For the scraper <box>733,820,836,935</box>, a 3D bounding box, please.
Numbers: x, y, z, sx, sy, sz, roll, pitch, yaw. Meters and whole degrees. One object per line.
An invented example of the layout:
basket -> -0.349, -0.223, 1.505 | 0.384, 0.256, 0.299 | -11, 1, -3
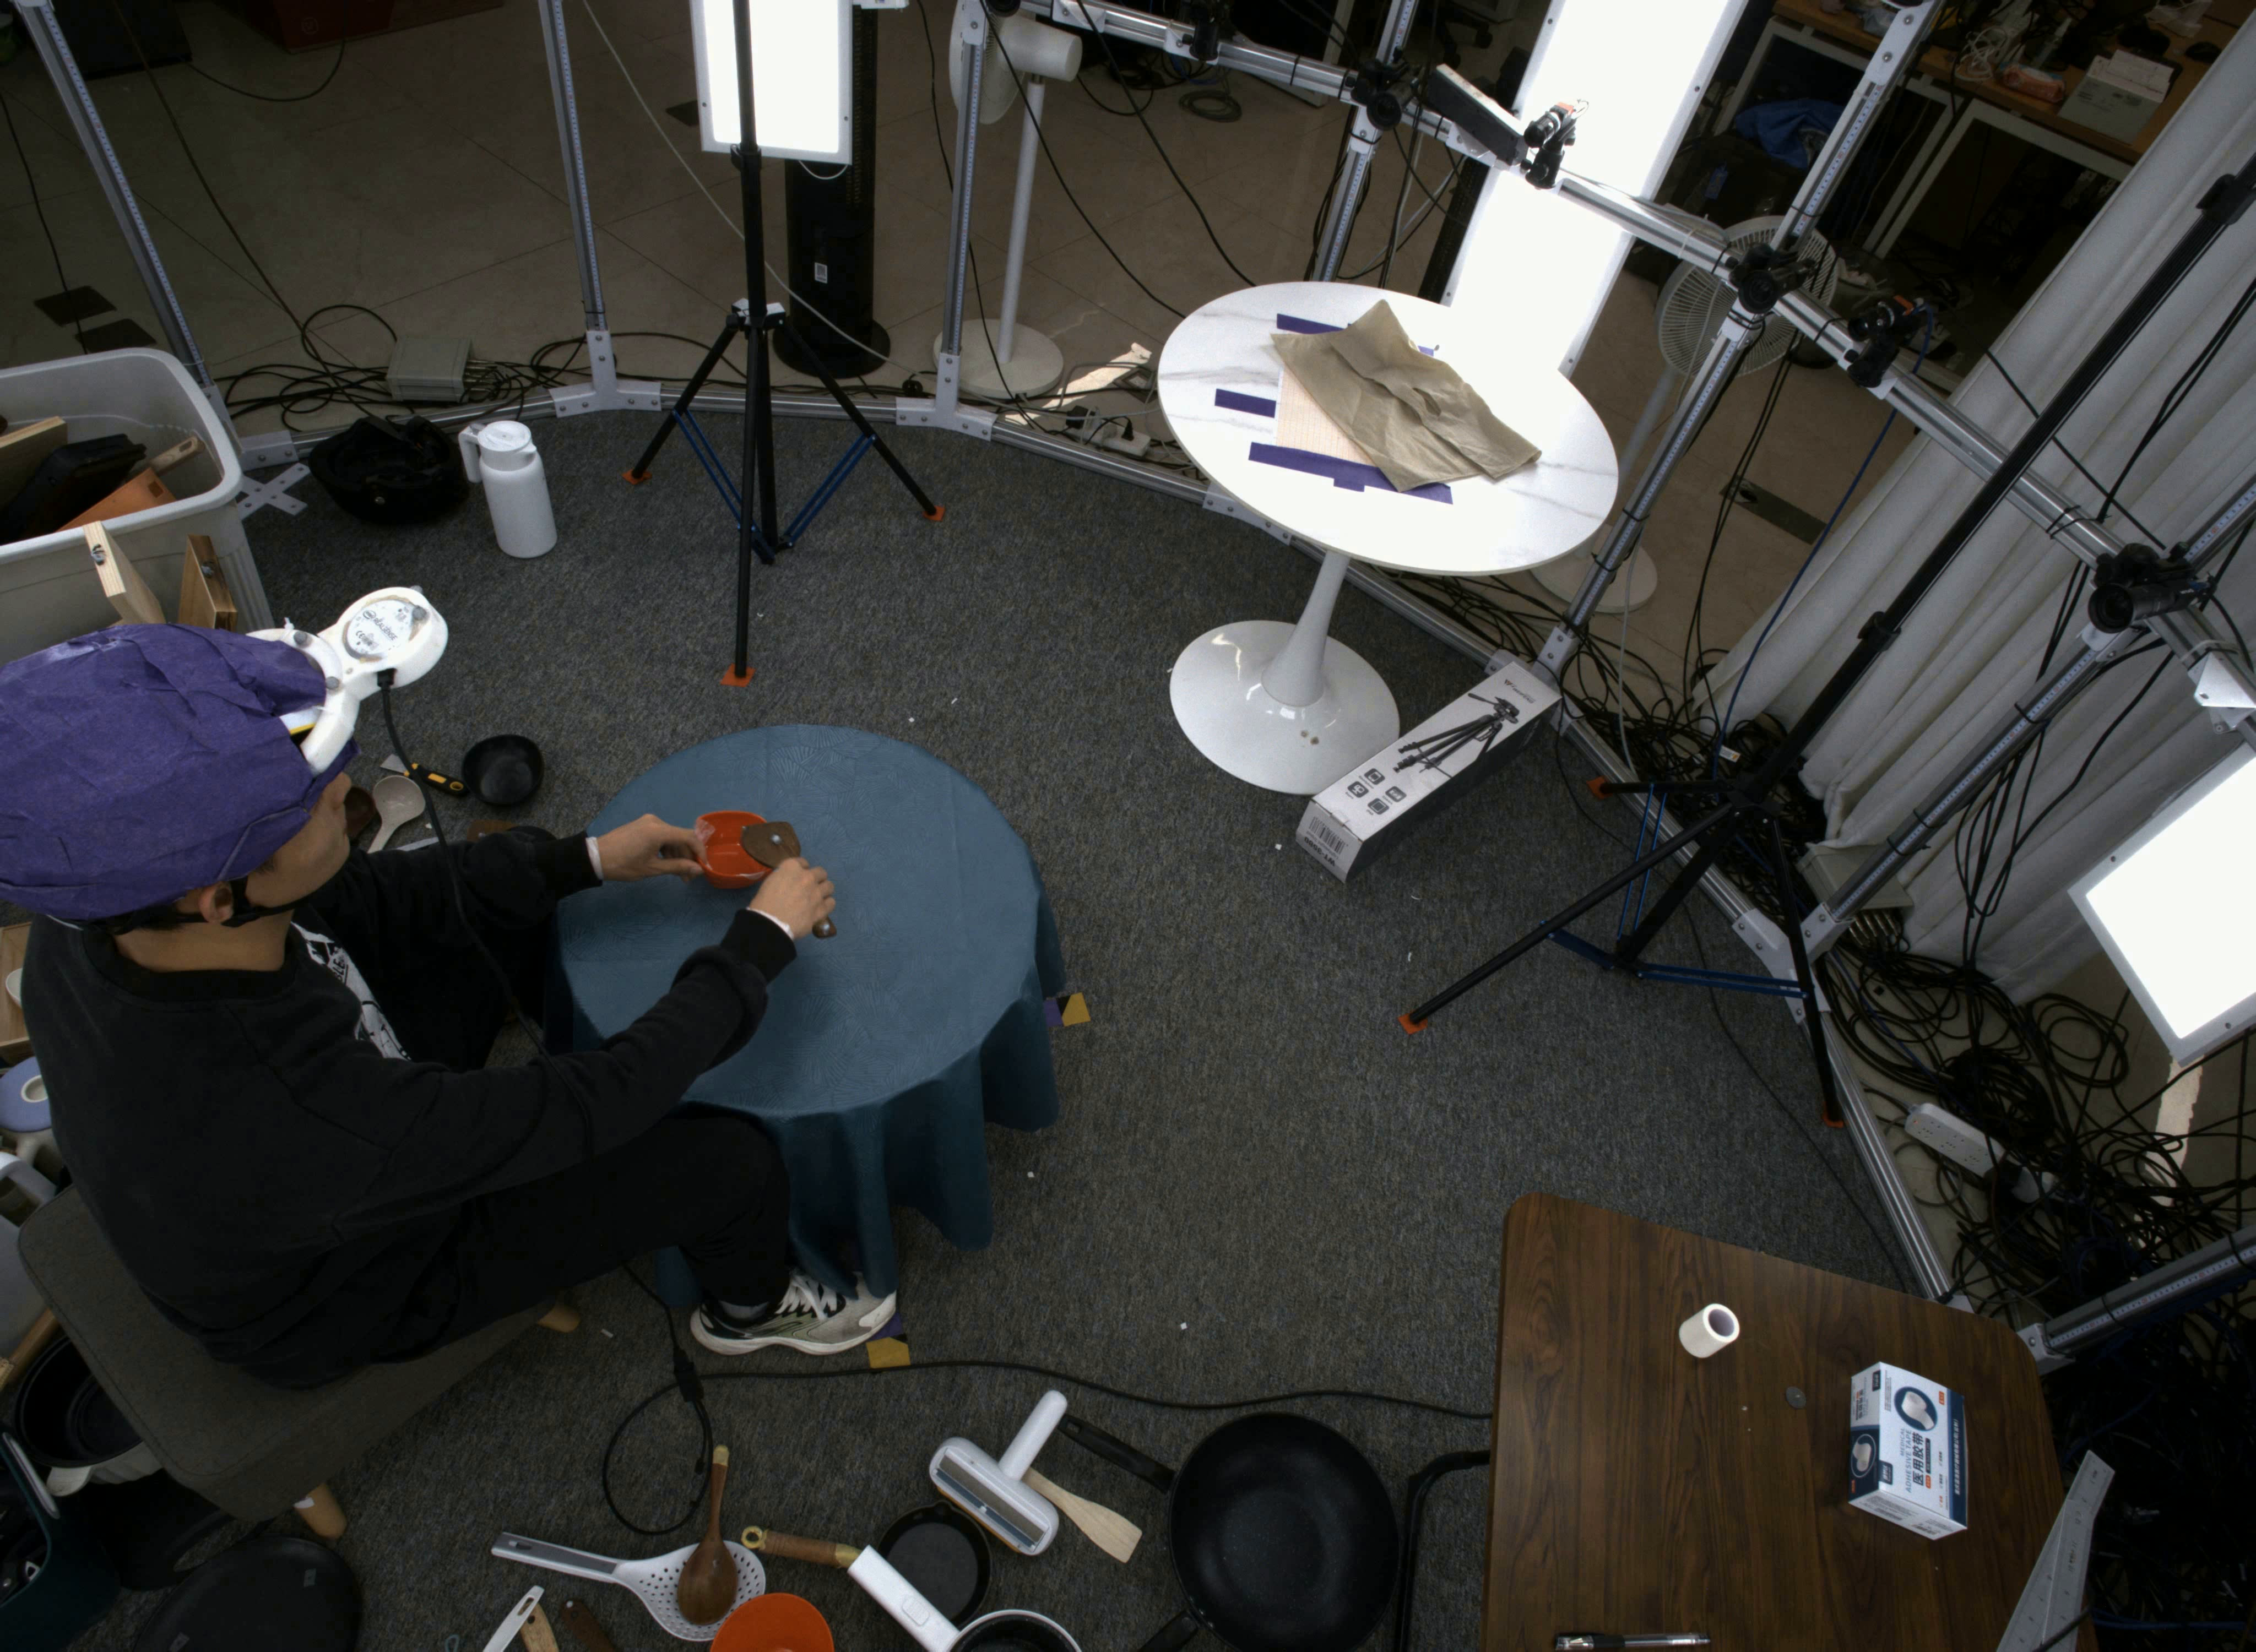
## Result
scraper -> -0.405, 0.060, 1.560 | 0.077, 0.011, 0.204 | -11, 45, -37

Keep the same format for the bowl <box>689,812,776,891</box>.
bowl -> -0.500, 0.037, 1.631 | 0.120, 0.052, 0.116 | 20, 40, -16
